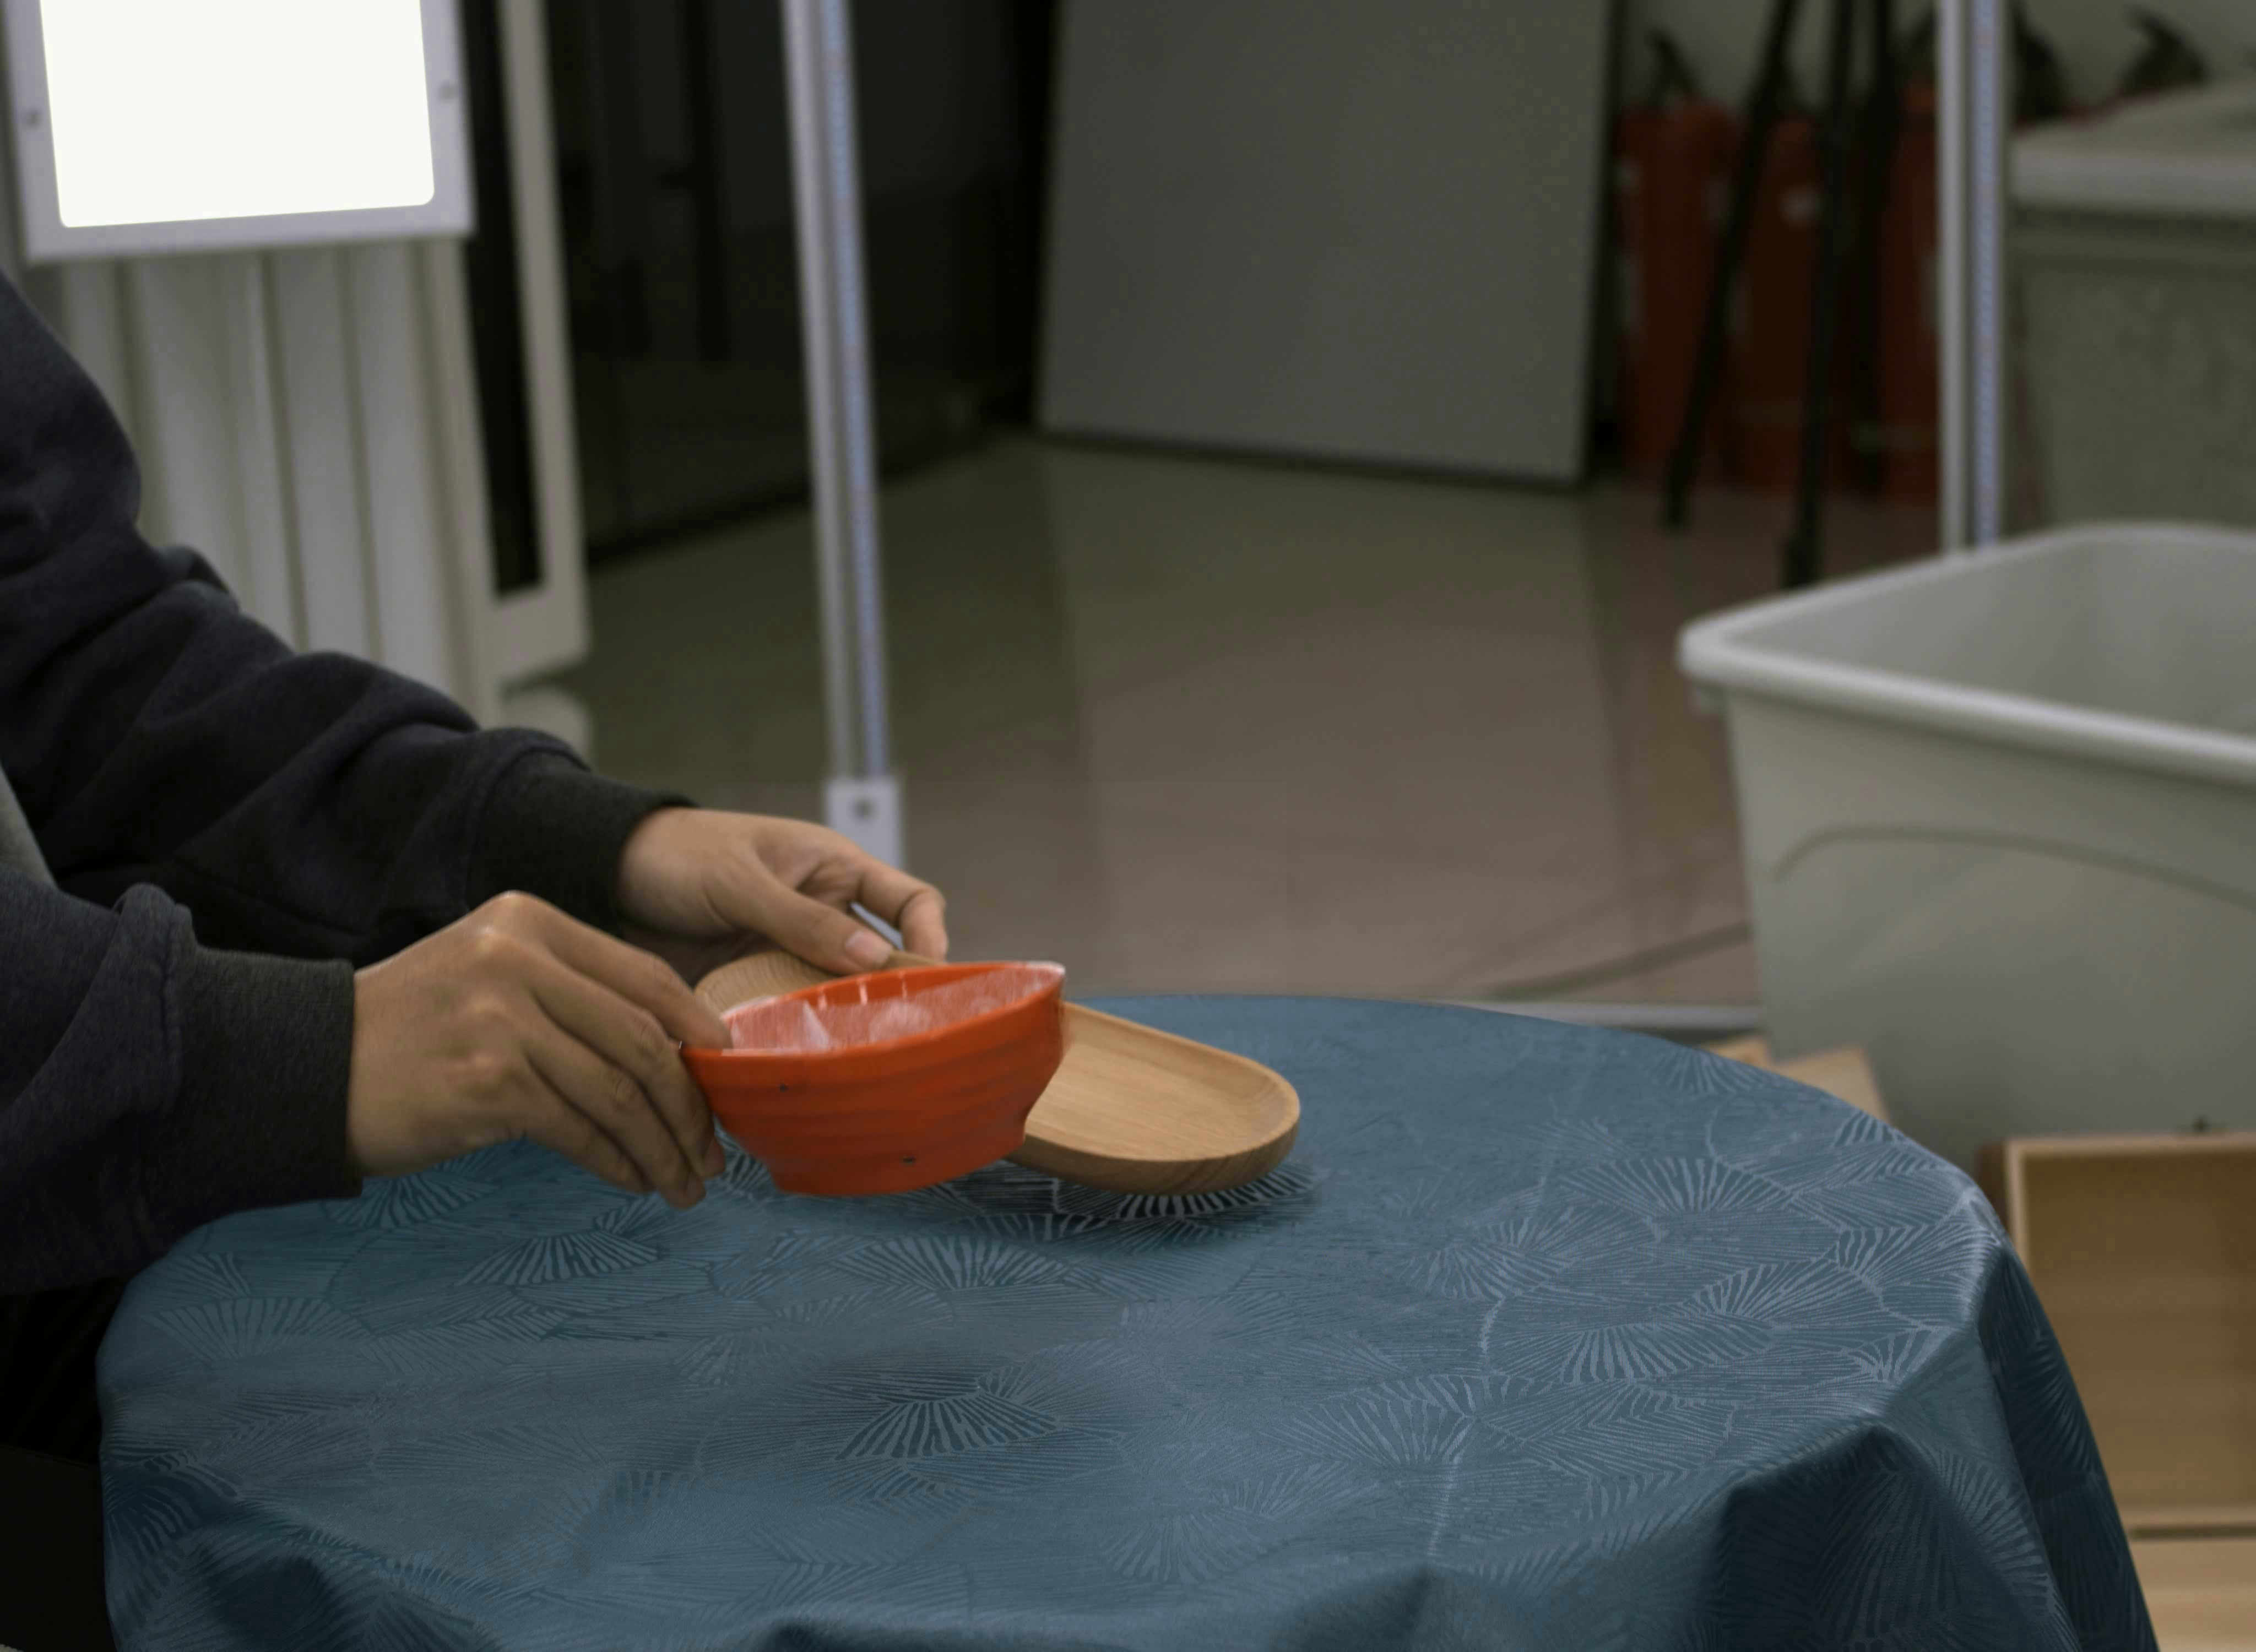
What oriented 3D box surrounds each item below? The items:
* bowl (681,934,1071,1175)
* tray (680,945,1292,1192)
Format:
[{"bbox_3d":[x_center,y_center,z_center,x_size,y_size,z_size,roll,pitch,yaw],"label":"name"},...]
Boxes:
[{"bbox_3d":[-0.071,0.070,1.603,0.117,0.052,0.119,-10,9,1],"label":"bowl"},{"bbox_3d":[-0.049,0.080,1.798,0.232,0.020,0.100,14,22,34],"label":"tray"}]
